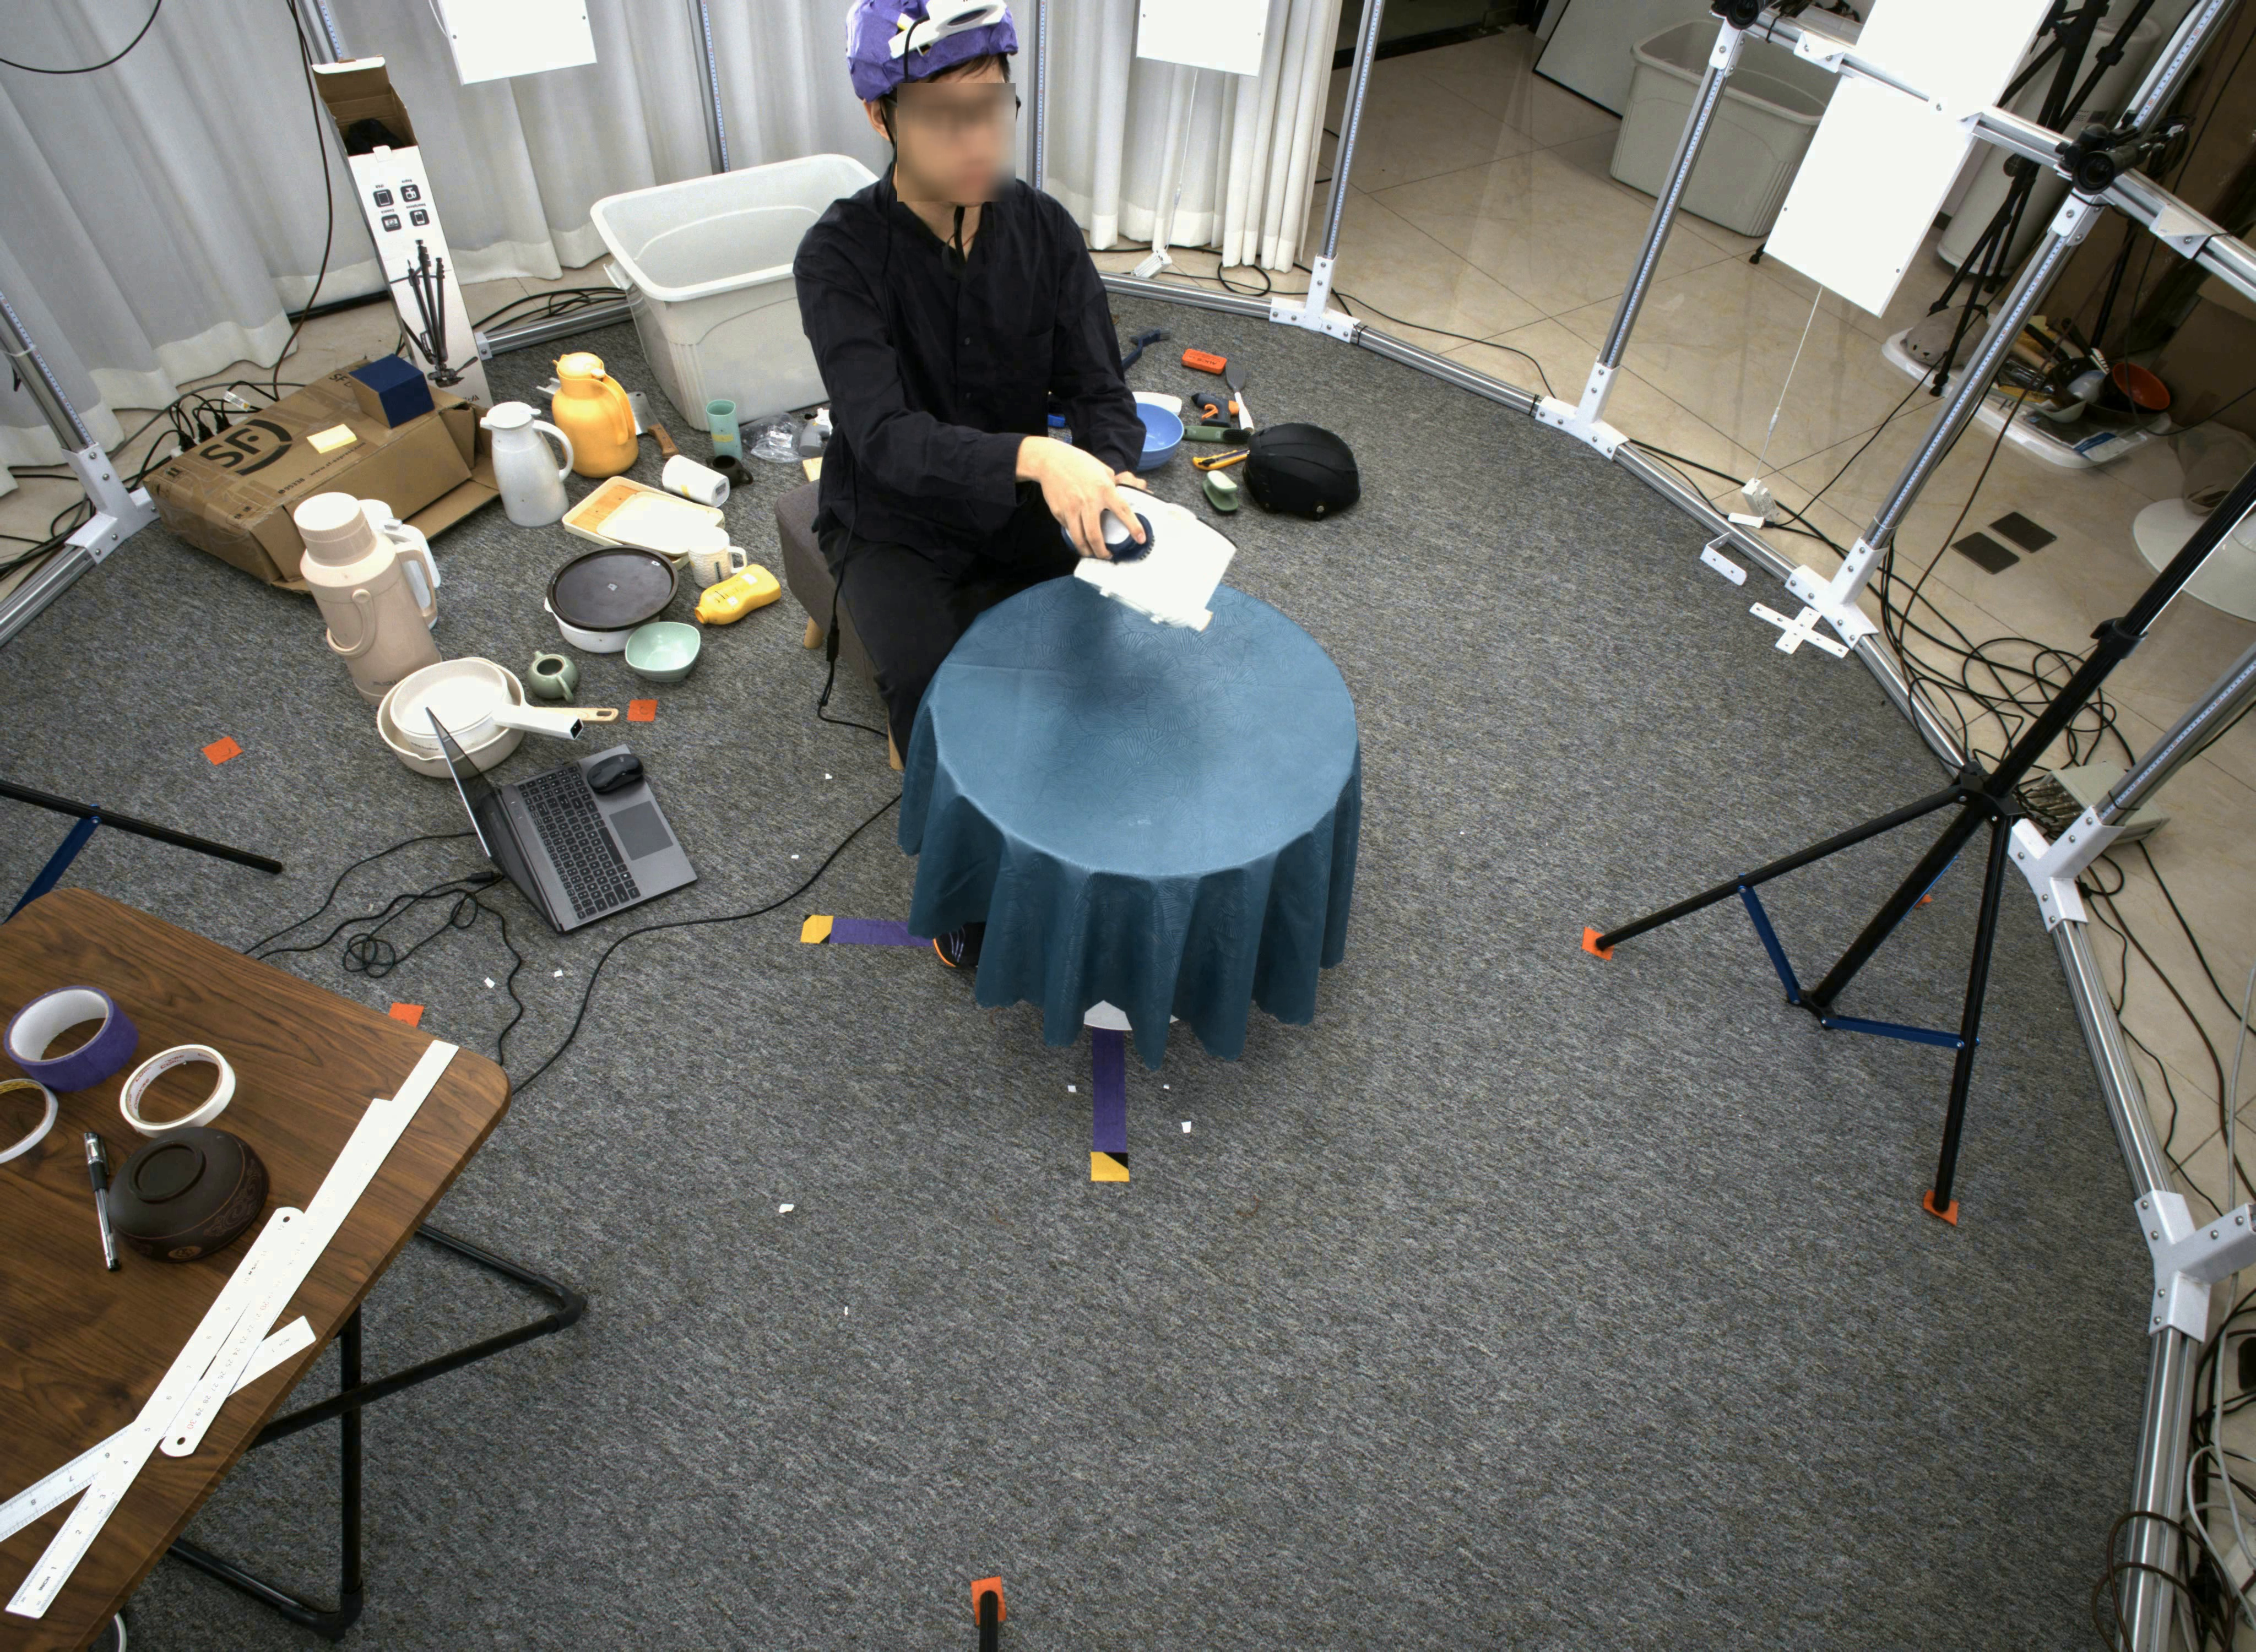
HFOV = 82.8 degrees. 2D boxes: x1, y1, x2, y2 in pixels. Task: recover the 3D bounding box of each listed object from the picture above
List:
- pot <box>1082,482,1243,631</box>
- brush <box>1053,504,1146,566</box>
[{"bbox_3d":[0.049,-0.356,1.735,0.190,0.142,0.242,24,5,-7],"label":"pot"},{"bbox_3d":[-0.034,-0.367,1.631,0.123,0.060,0.068,20,90,27],"label":"brush"}]
